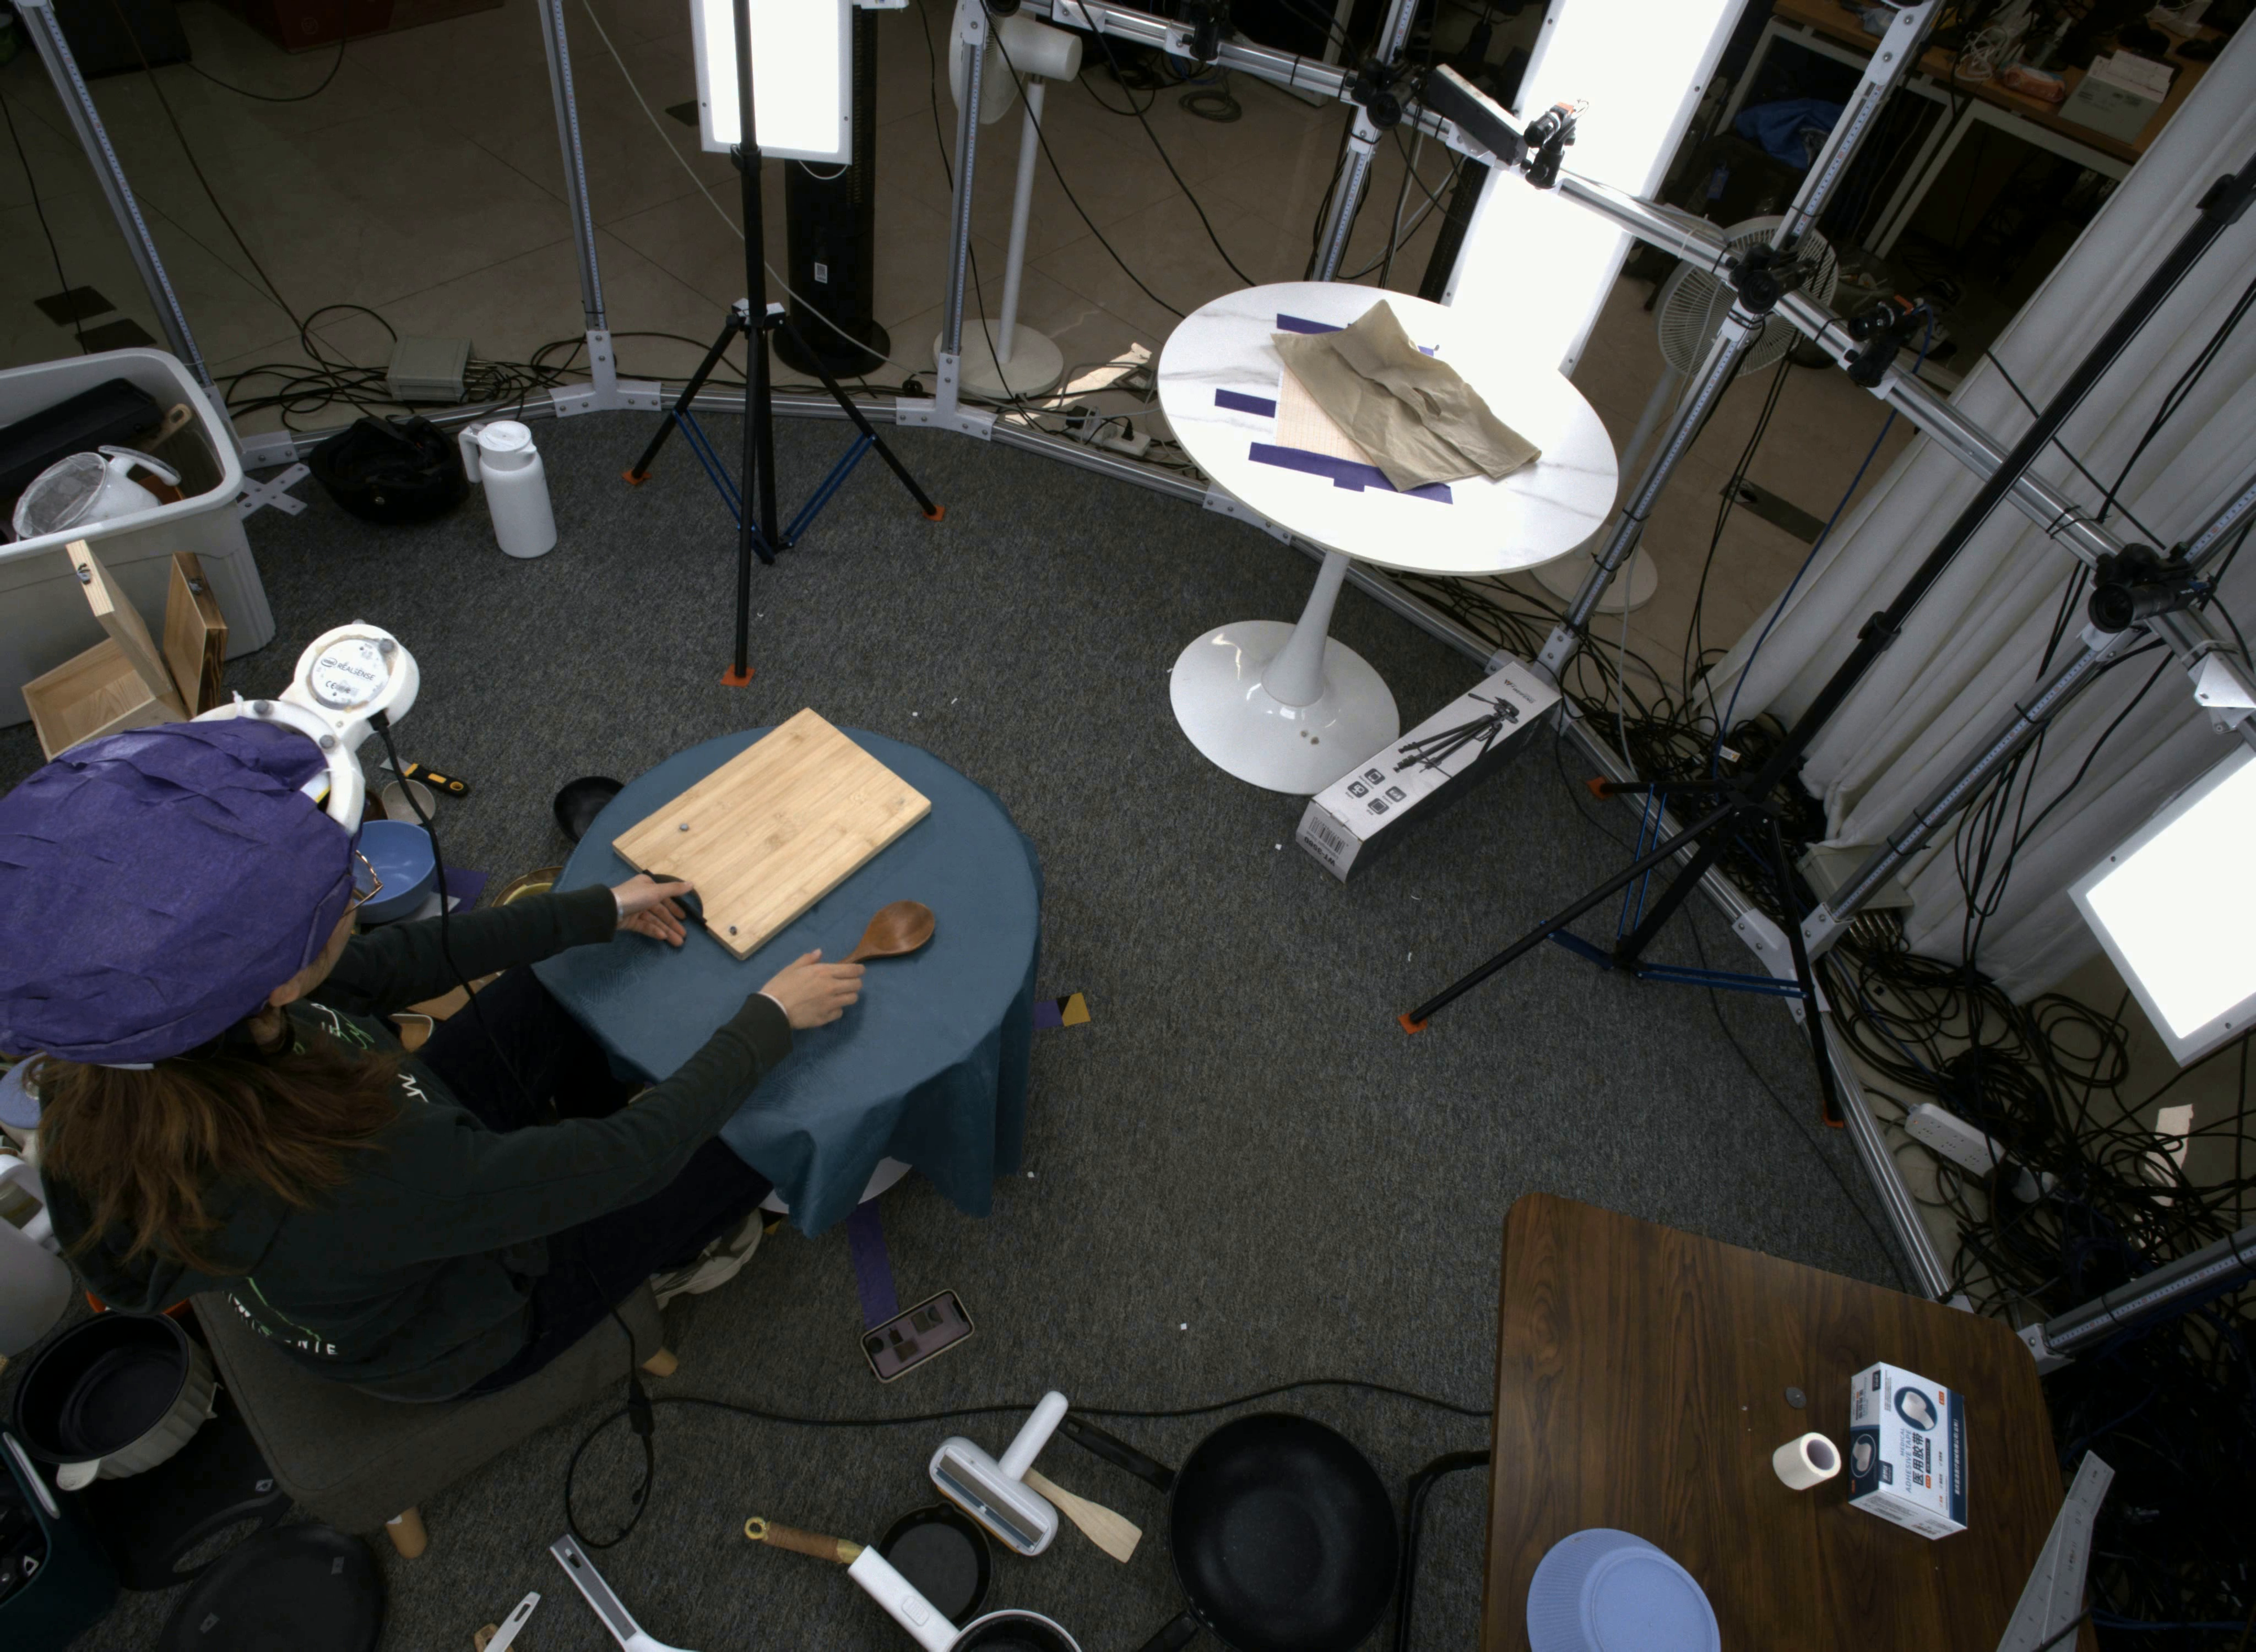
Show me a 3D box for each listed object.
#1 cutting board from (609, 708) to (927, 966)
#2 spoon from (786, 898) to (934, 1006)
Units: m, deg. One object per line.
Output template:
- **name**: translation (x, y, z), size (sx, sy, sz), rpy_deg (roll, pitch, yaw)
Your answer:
- **cutting board**: translation (-0.468, 0.003, 1.705), size (0.246, 0.024, 0.348), rpy_deg (36, 54, 14)
- **spoon**: translation (-0.334, 0.158, 1.623), size (0.216, 0.017, 0.074), rpy_deg (-34, 70, -33)
